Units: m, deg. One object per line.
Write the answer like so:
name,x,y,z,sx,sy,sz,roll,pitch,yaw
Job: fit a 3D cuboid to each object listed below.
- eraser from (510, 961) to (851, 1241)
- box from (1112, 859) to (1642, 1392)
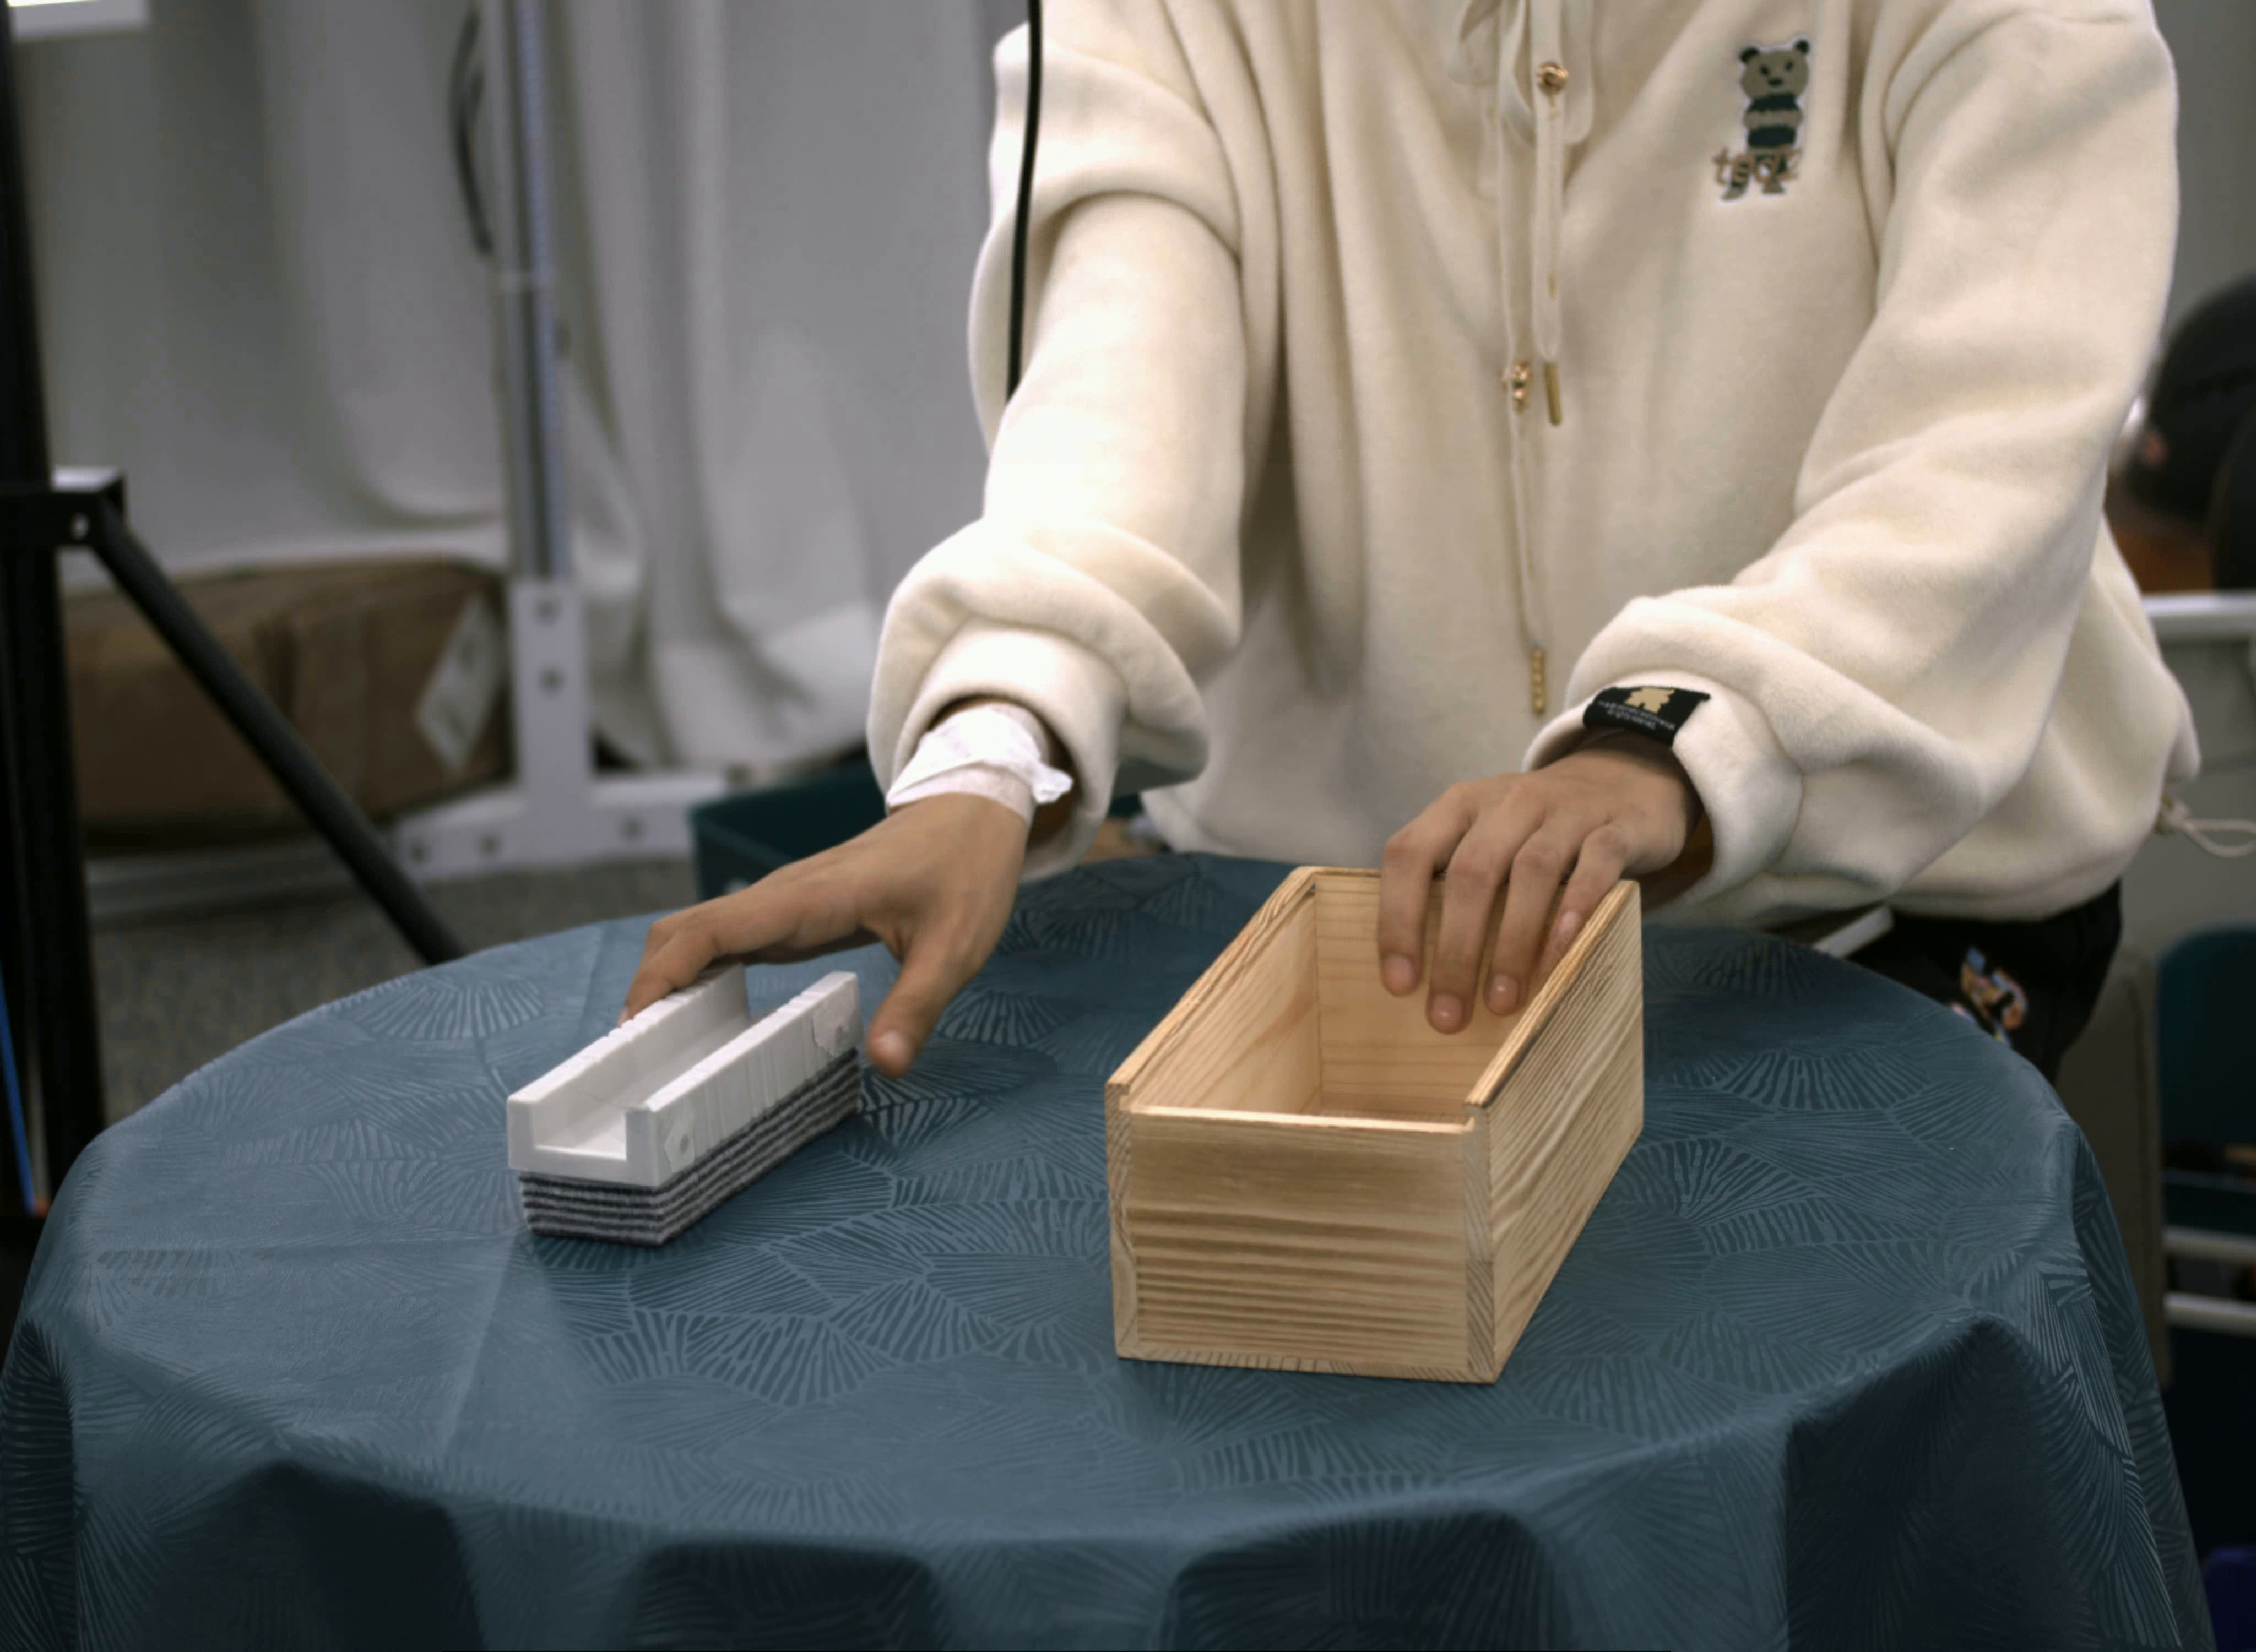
eraser,-0.131,0.081,1.590,0.050,0.046,0.132,1,17,22
box,0.075,0.080,1.499,0.108,0.080,0.209,3,17,16
